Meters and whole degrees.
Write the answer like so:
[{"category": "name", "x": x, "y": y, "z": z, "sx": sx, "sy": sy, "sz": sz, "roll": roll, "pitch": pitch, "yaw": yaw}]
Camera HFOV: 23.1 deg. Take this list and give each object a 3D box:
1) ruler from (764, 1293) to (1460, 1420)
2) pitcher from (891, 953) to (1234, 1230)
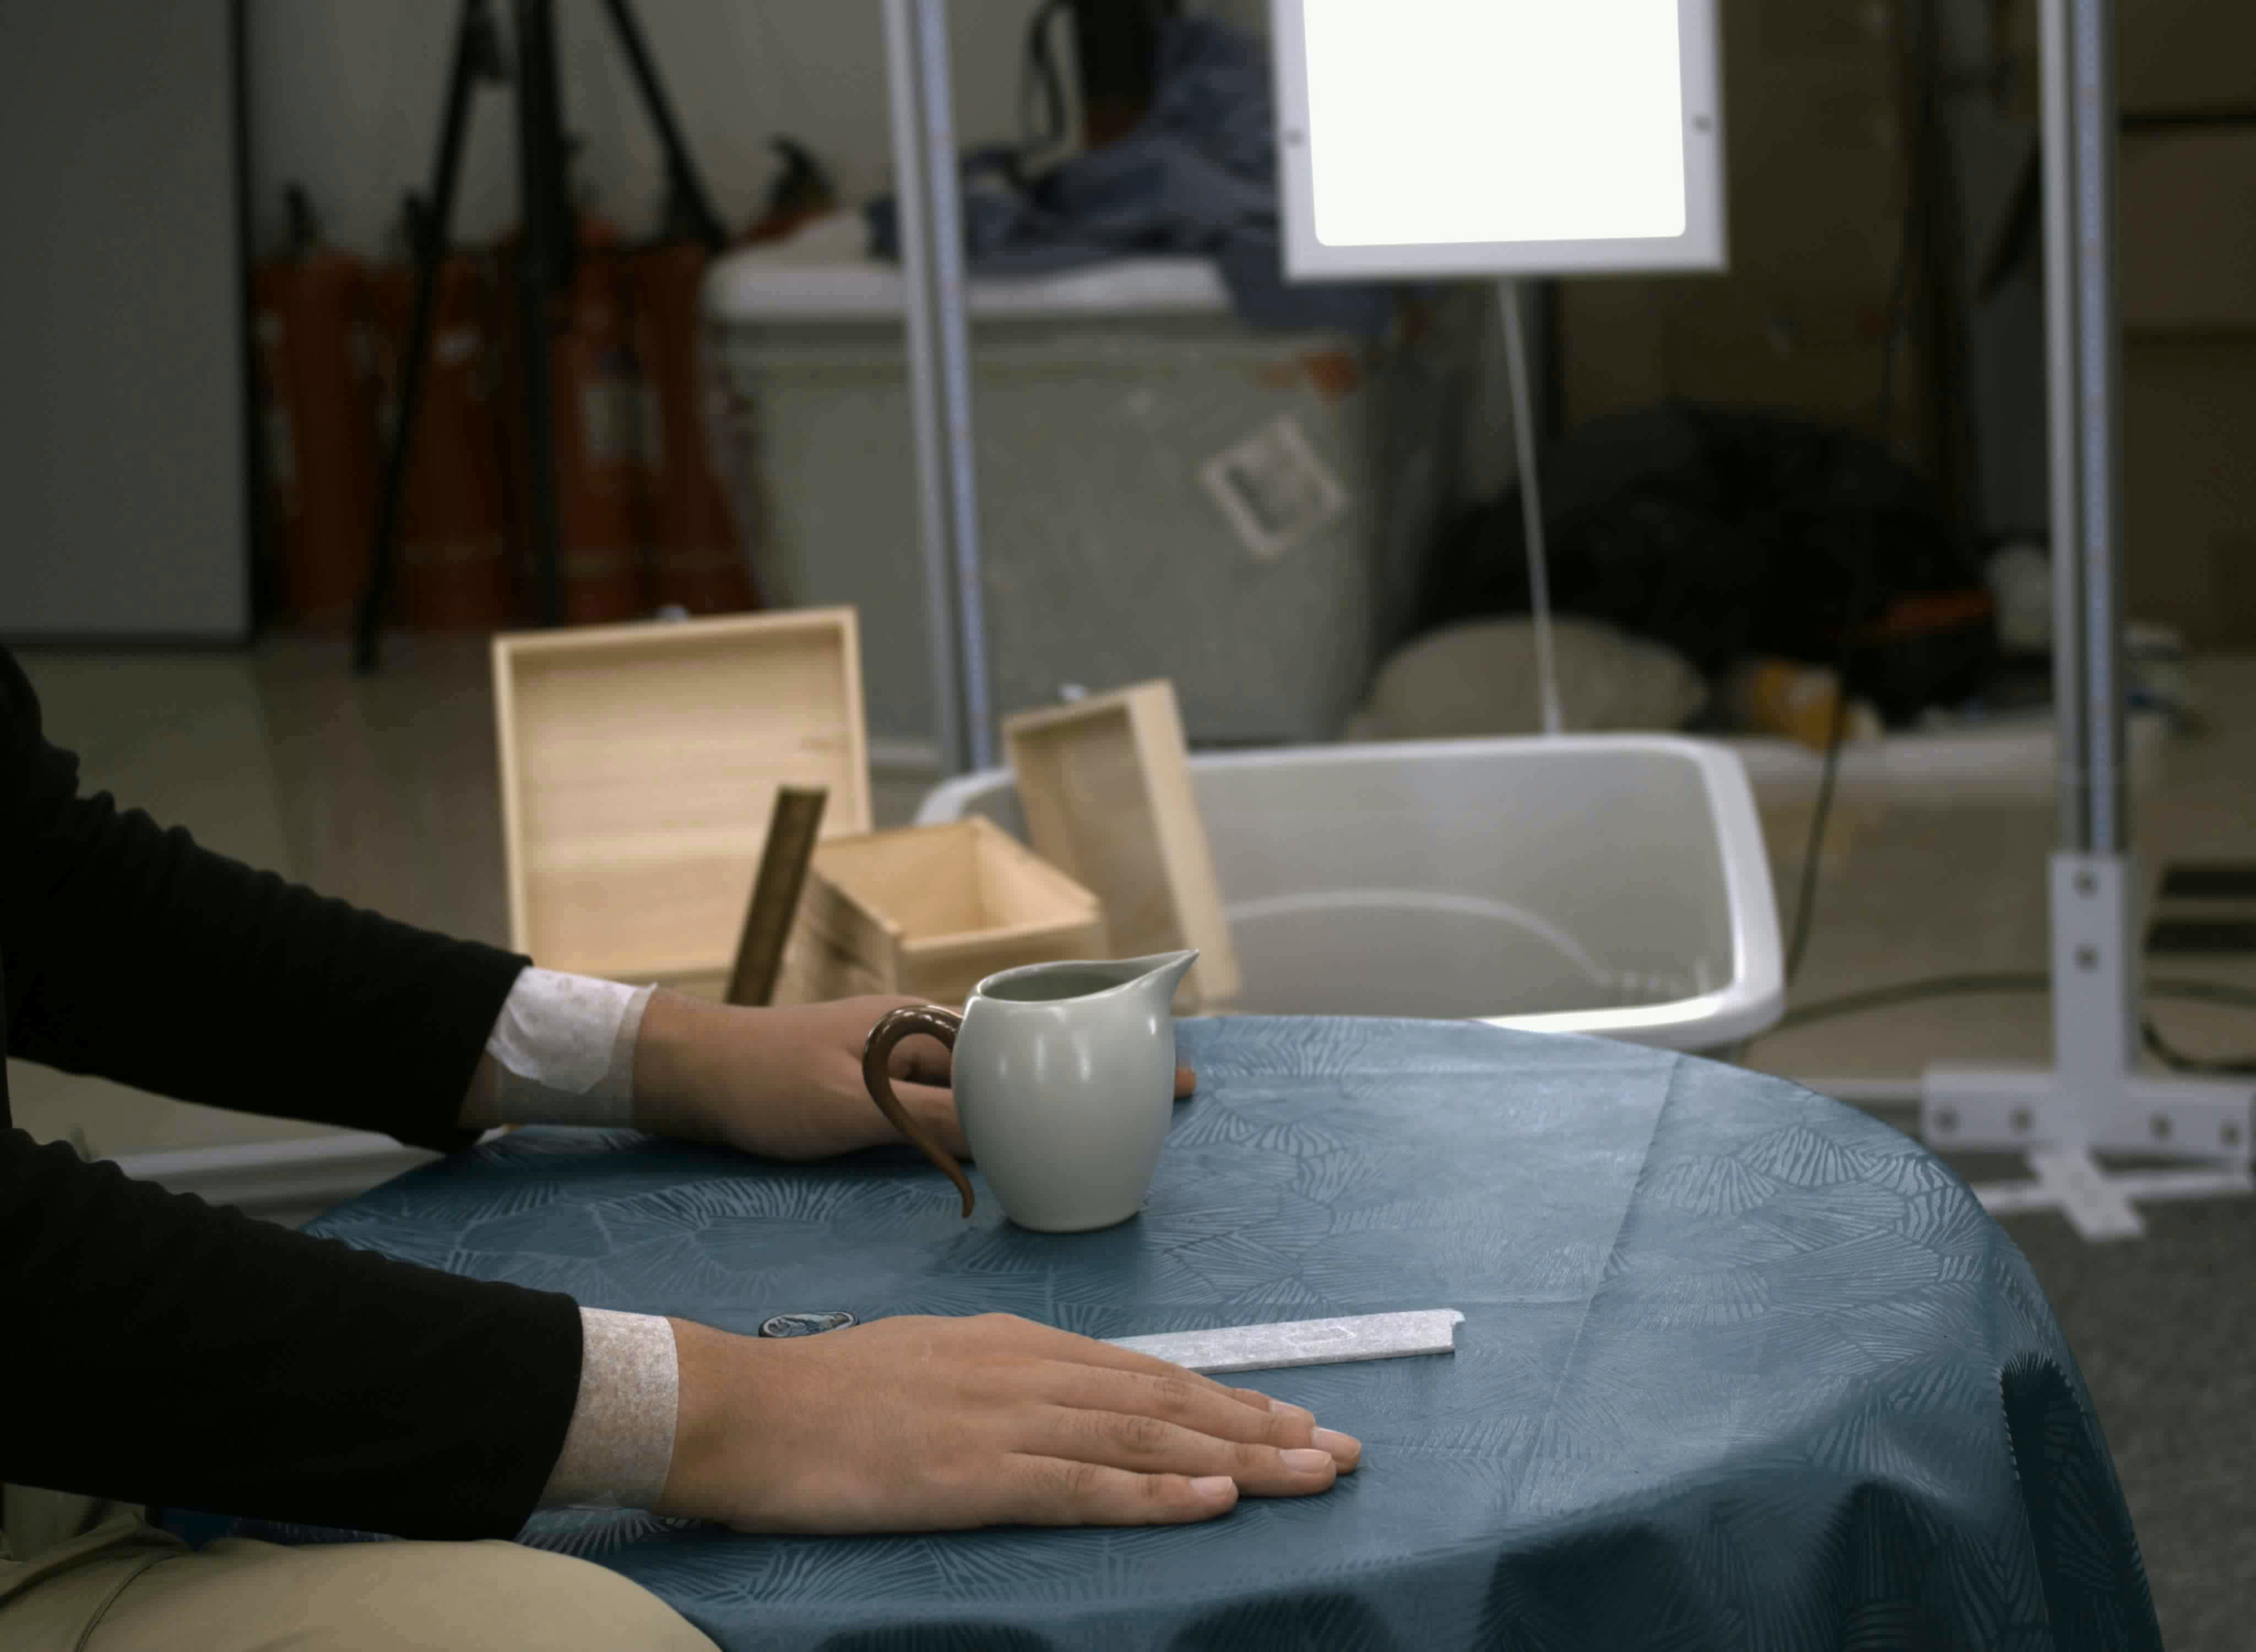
[{"category": "ruler", "x": -0.006, "y": 0.158, "z": 1.723, "sx": 0.217, "sy": 0.024, "sz": 0.038, "roll": -6, "pitch": 20, "yaw": 1}, {"category": "pitcher", "x": -0.020, "y": 0.090, "z": 1.871, "sx": 0.118, "sy": 0.088, "sz": 0.076, "roll": -4, "pitch": 10, "yaw": -2}]
